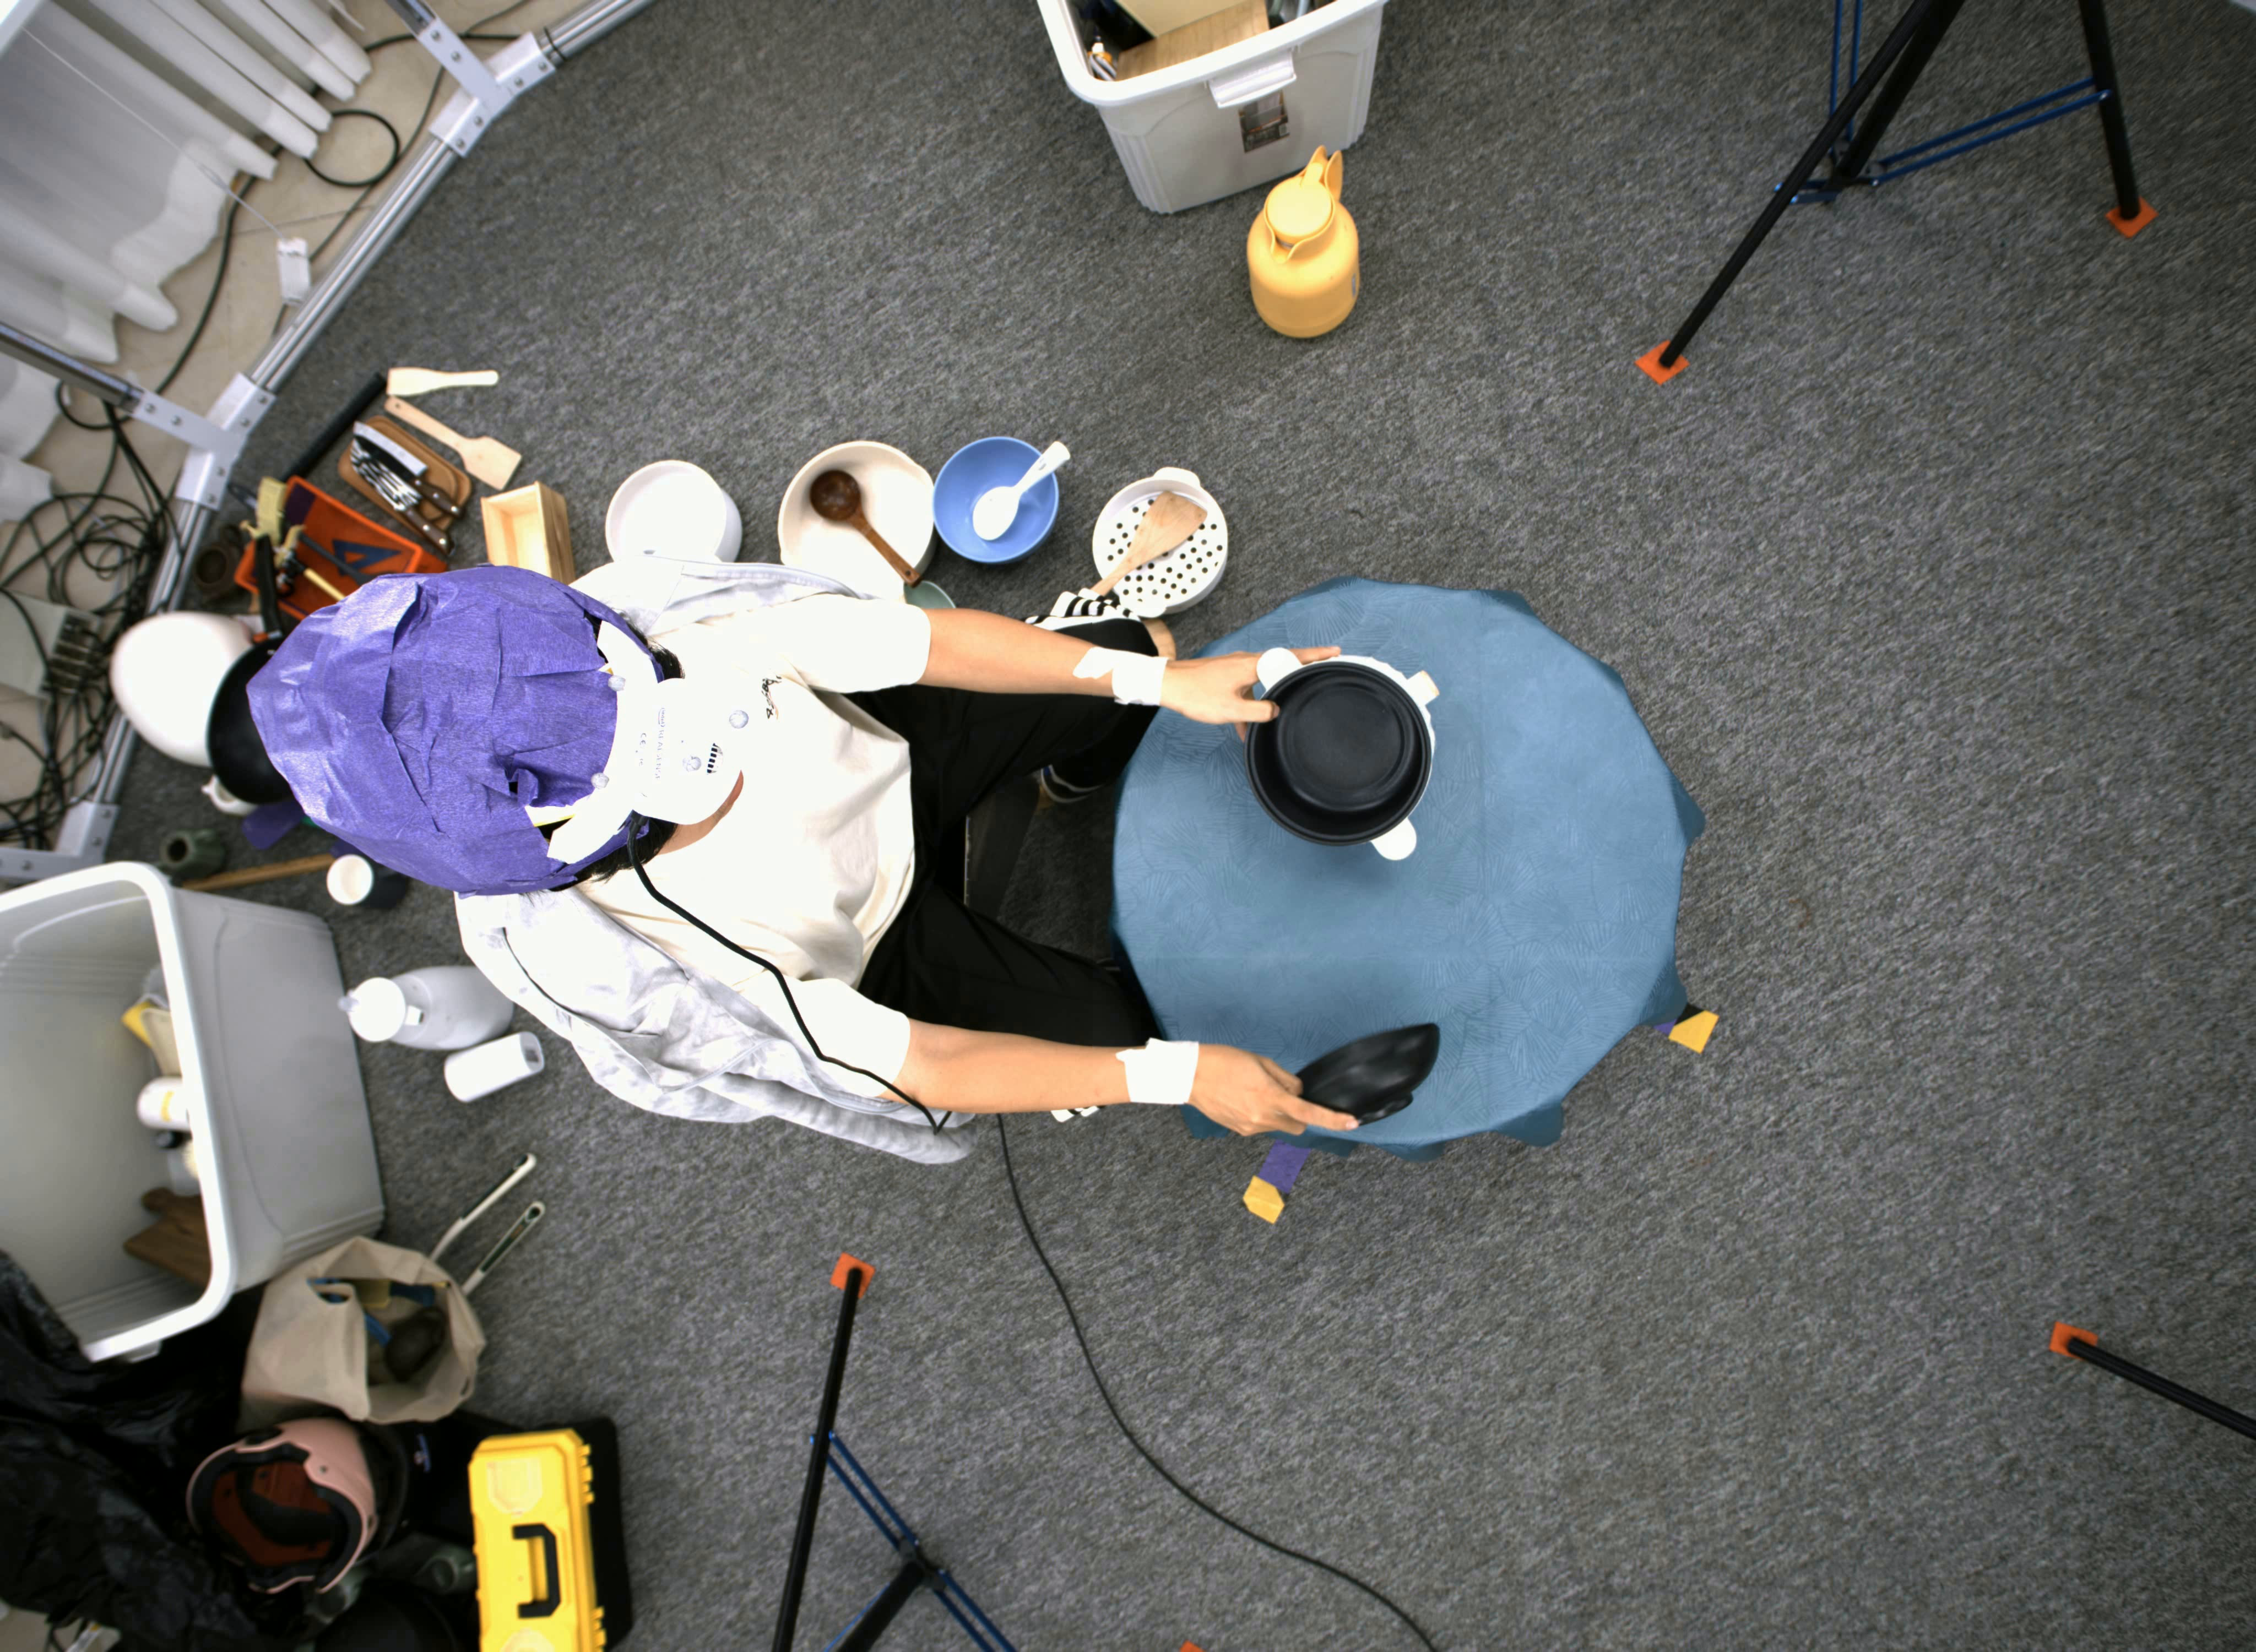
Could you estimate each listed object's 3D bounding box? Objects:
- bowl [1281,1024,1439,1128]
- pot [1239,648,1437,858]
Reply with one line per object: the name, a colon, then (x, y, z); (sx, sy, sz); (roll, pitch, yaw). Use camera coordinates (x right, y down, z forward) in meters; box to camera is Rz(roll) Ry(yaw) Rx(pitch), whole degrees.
bowl: (0.230, 0.243, 1.317); (0.169, 0.139, 0.066); (-21, 83, -19)
pot: (0.218, -0.089, 1.378); (0.193, 0.140, 0.241); (-35, 94, 25)
